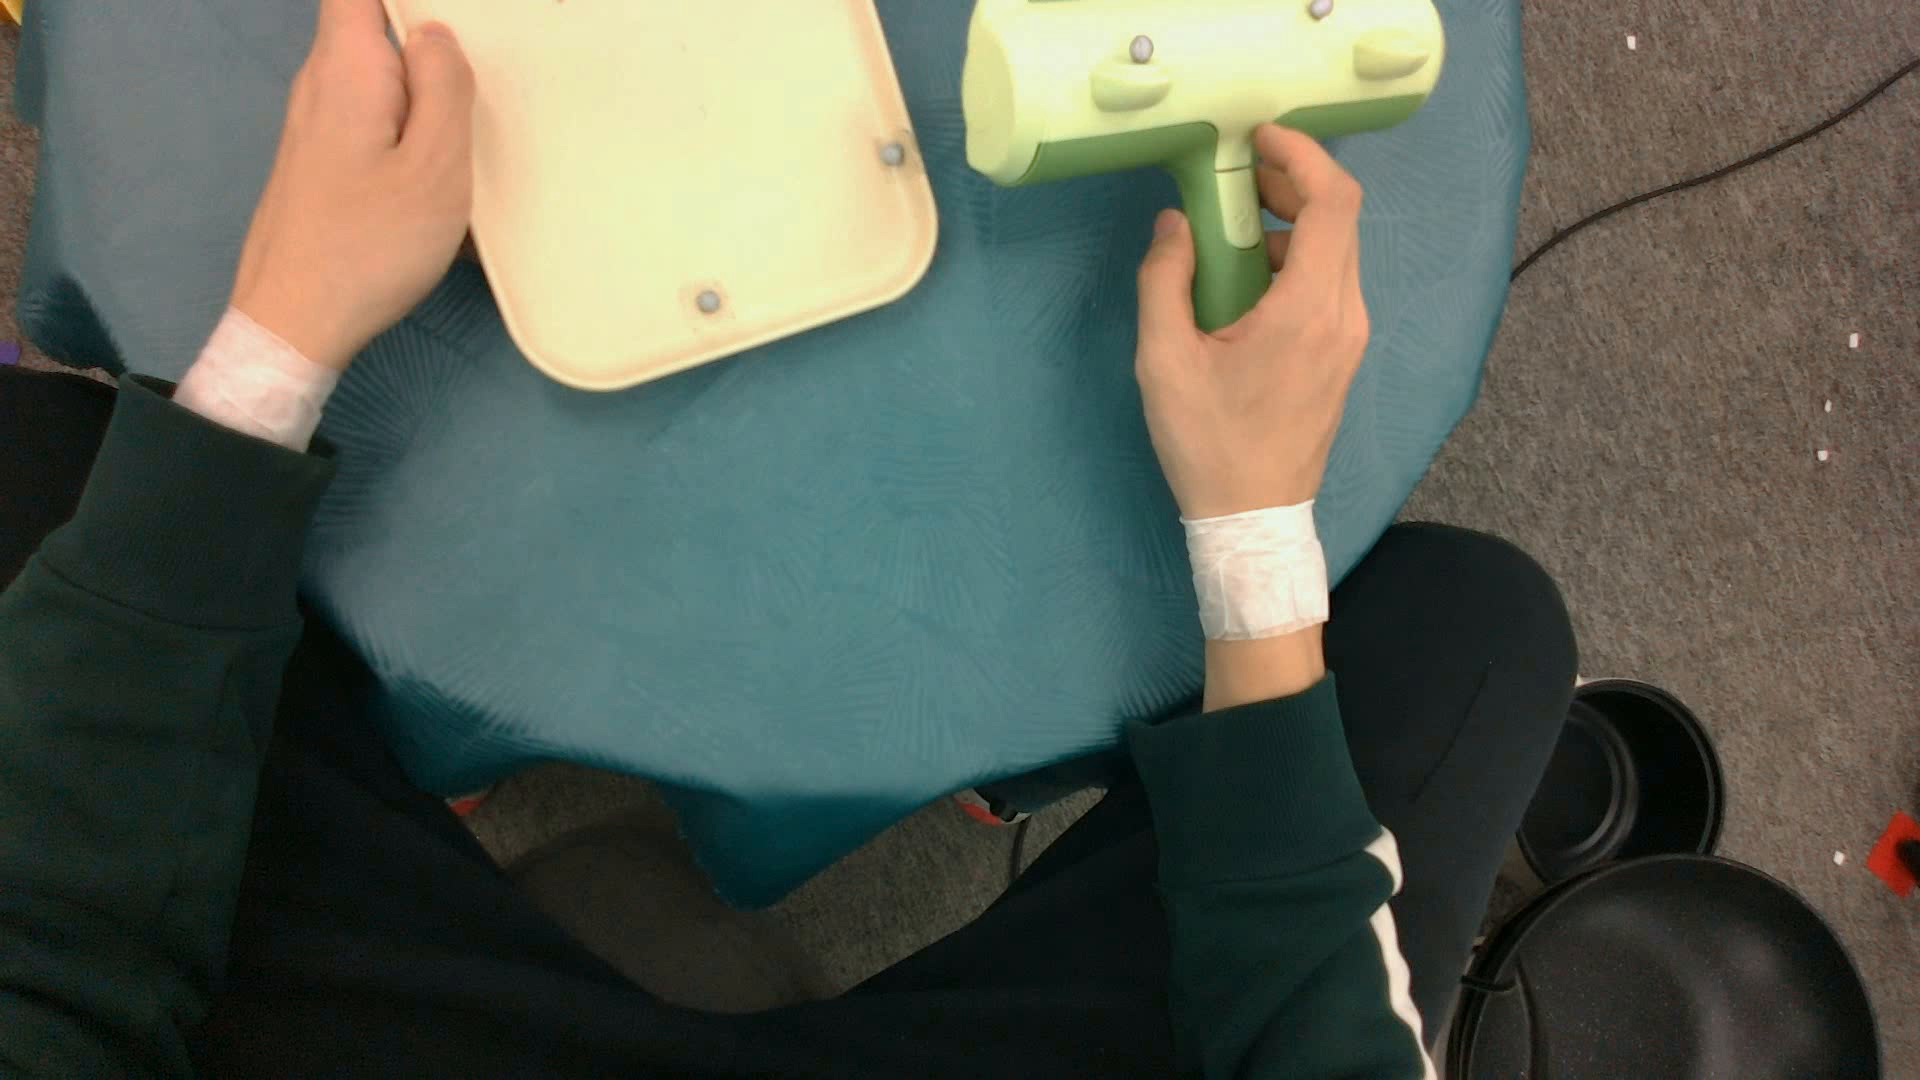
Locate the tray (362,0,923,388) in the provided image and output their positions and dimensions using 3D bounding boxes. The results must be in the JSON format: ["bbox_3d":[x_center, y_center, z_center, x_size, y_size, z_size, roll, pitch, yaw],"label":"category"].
[{"bbox_3d":[-0.121,-0.188,0.504,0.172,0.017,0.239,-23,104,-17],"label":"tray"}]

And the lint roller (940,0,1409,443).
[{"bbox_3d":[0.102,-0.129,0.520,0.199,0.082,0.183,-17,95,-26],"label":"lint roller"}]
